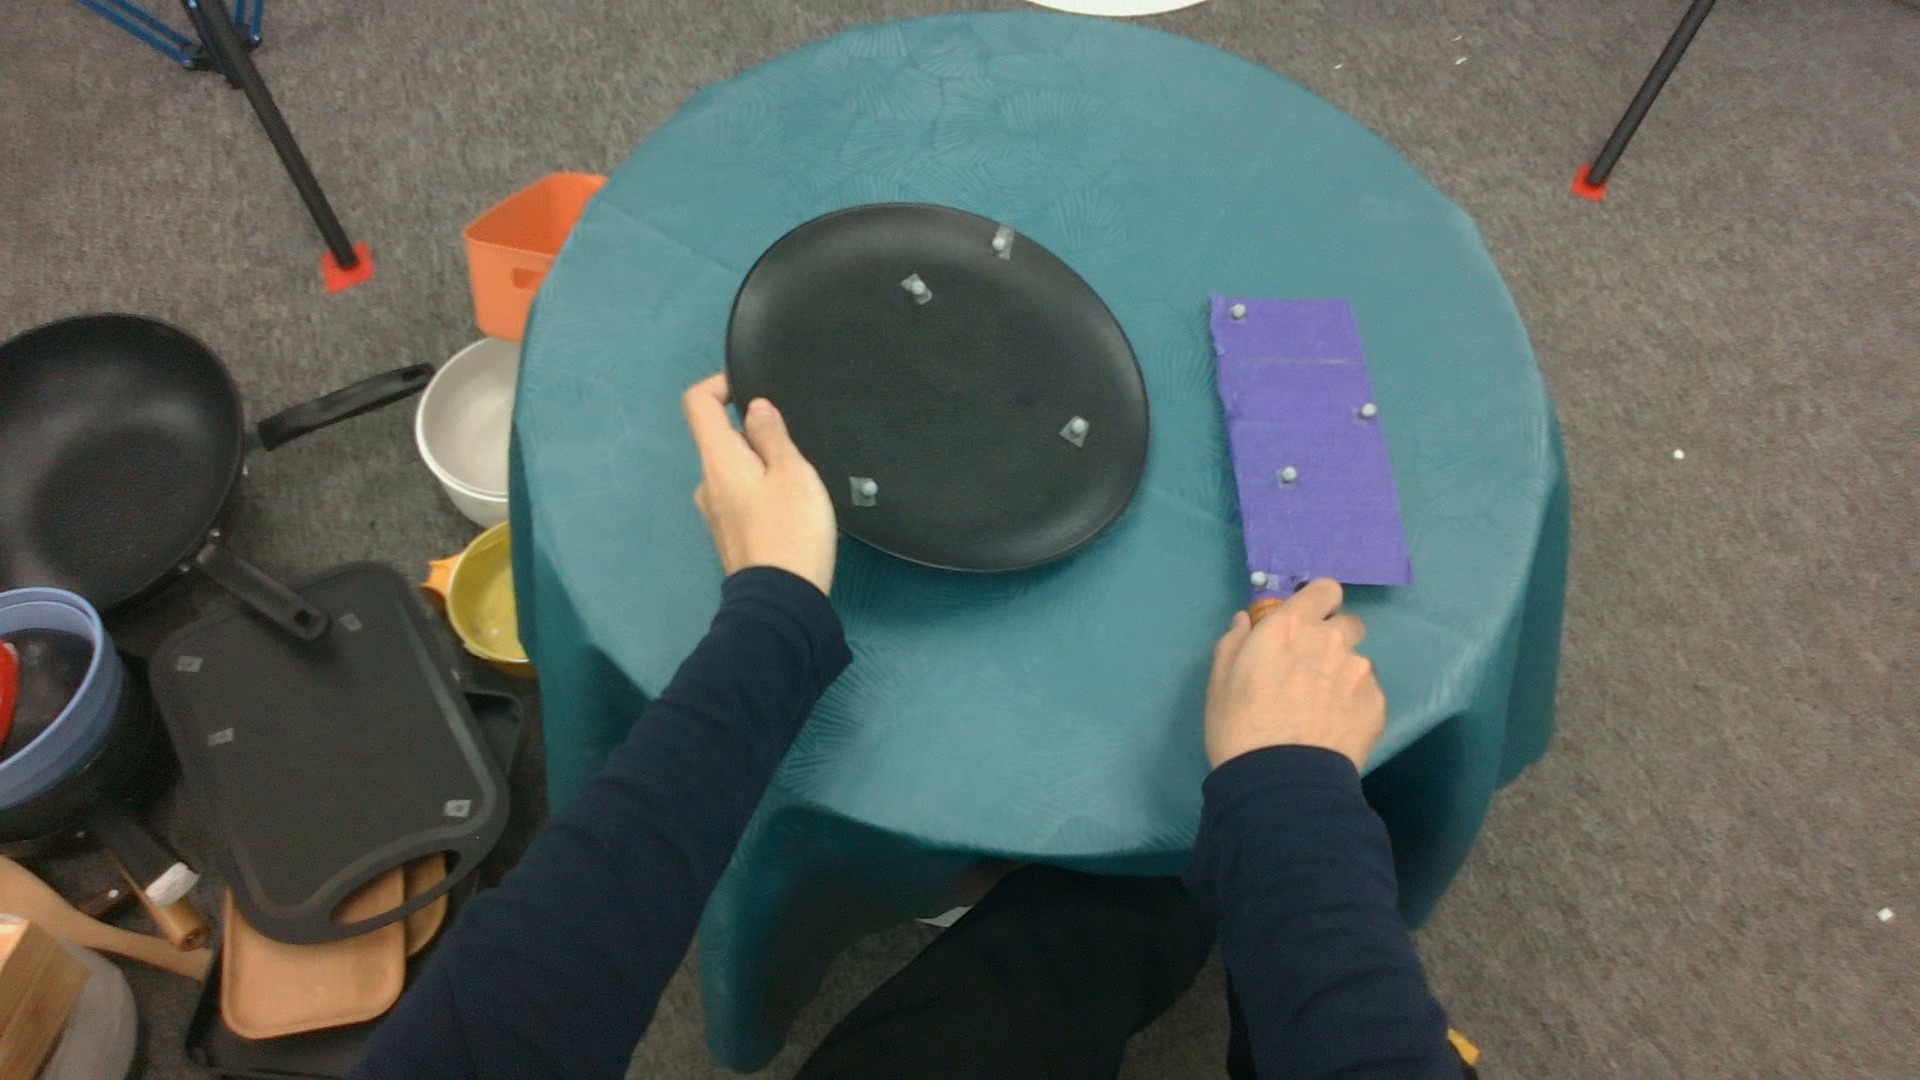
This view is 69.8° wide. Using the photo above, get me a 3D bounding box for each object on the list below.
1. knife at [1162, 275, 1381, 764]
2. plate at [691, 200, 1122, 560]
[{"bbox_3d":[0.180,-0.028,0.757,0.104,0.032,0.316,2,58,-7],"label":"knife"},{"bbox_3d":[-0.027,-0.089,0.758,0.244,0.023,0.245,10,56,-15],"label":"plate"}]
